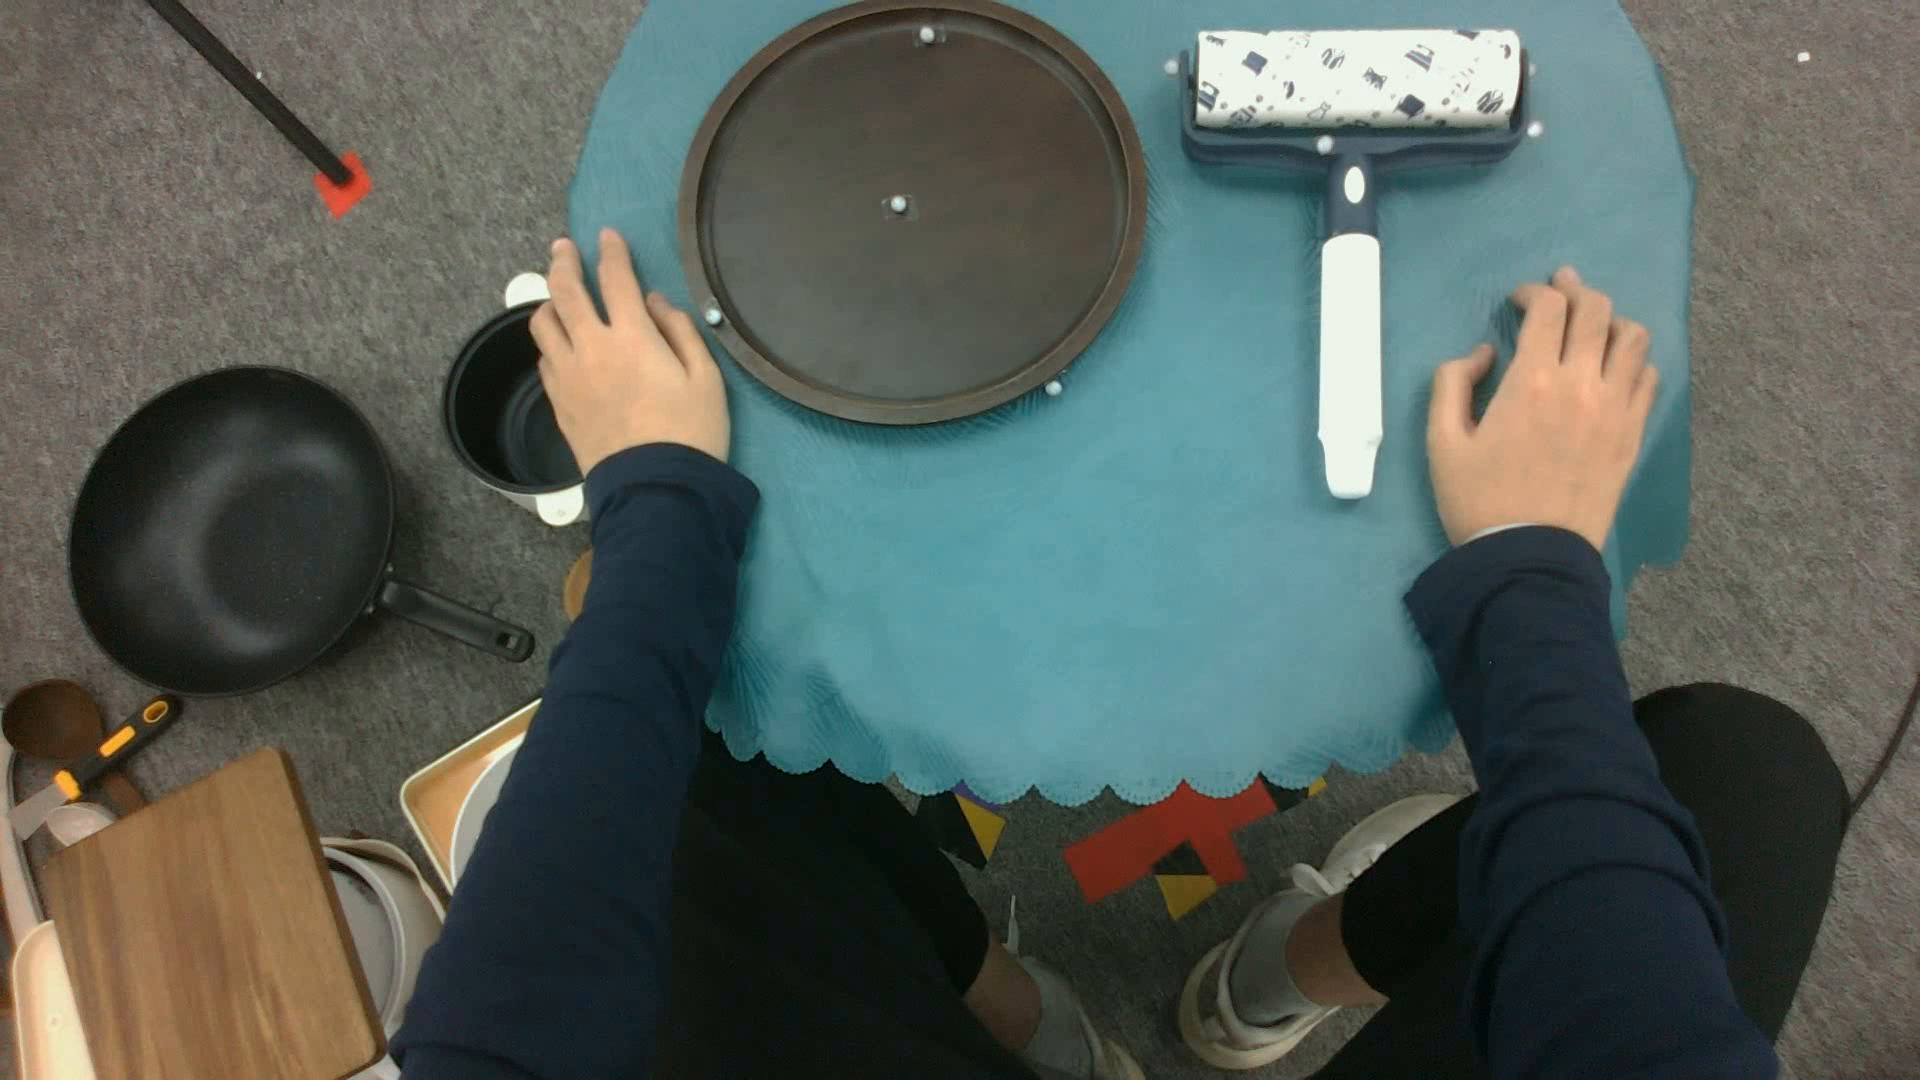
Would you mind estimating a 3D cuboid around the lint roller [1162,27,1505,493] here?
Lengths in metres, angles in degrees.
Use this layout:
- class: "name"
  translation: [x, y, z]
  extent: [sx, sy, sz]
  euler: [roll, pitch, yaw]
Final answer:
- class: "lint roller"
  translation: [0.192, -0.148, 0.706]
  extent: [0.176, 0.050, 0.247]
  euler: [1, 78, 3]

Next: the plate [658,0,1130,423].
- class: "plate"
  translation: [-0.036, -0.182, 0.741]
  extent: [0.254, 0.029, 0.255]
  euler: [-1, 76, 4]
